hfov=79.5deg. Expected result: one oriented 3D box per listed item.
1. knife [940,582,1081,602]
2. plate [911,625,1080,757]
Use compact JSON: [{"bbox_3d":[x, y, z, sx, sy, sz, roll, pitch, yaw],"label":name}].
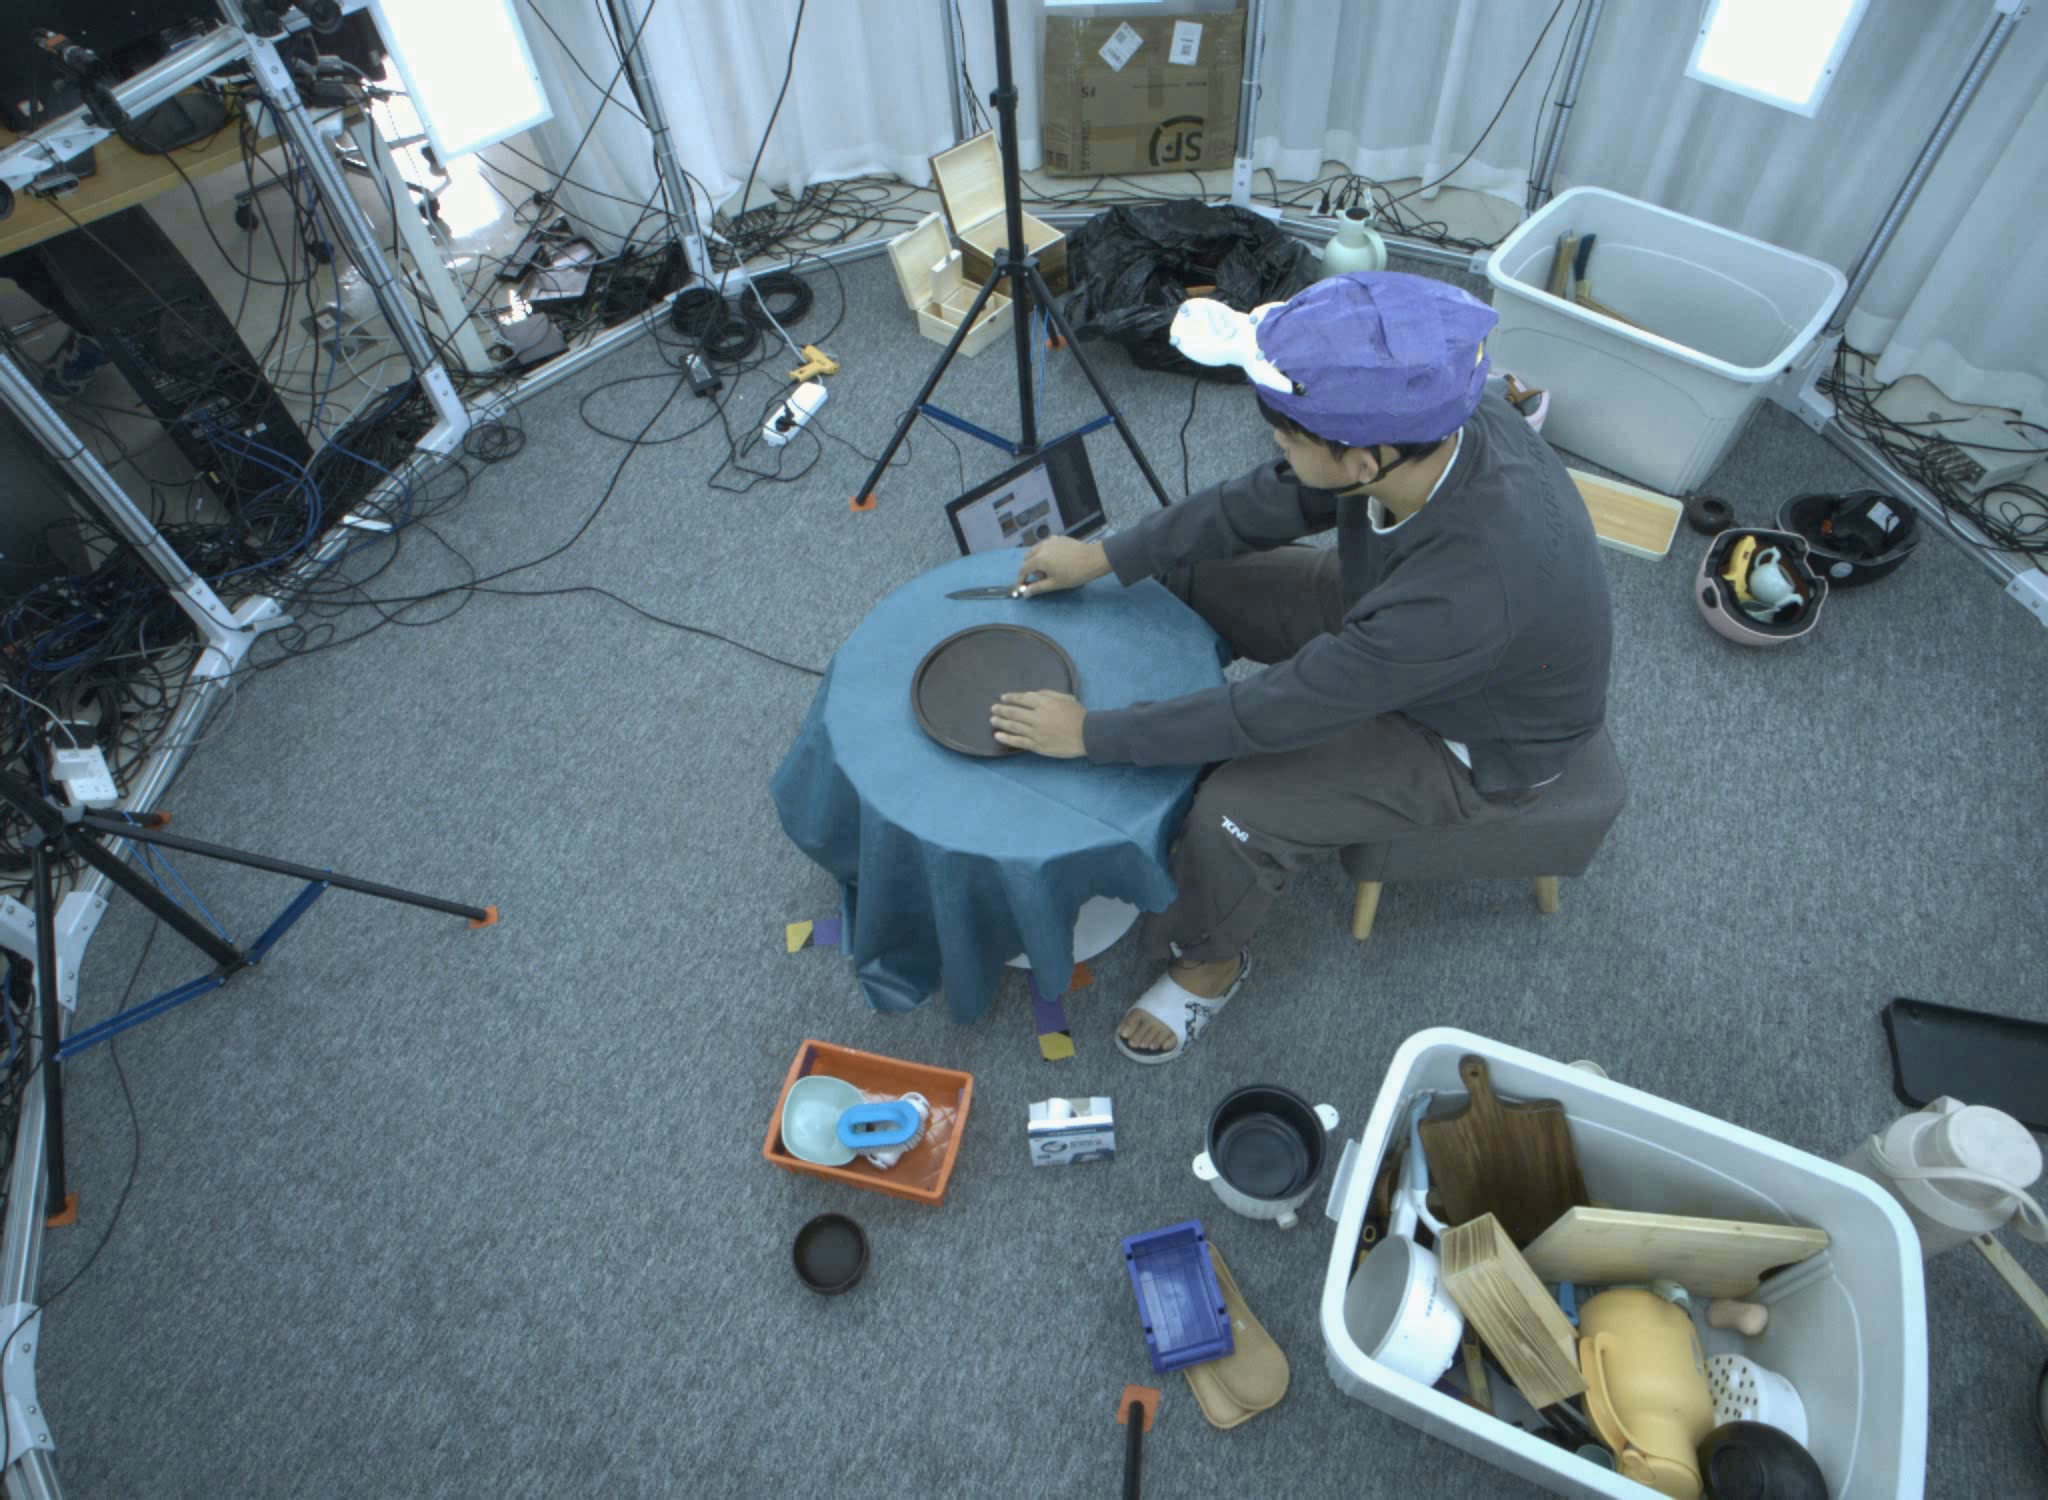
[{"bbox_3d":[-0.022,-0.252,1.960,0.225,0.017,0.026,-3,62,-1],"label":"knife"},{"bbox_3d":[-0.043,-0.090,1.838,0.255,0.029,0.252,0,53,1],"label":"plate"}]
